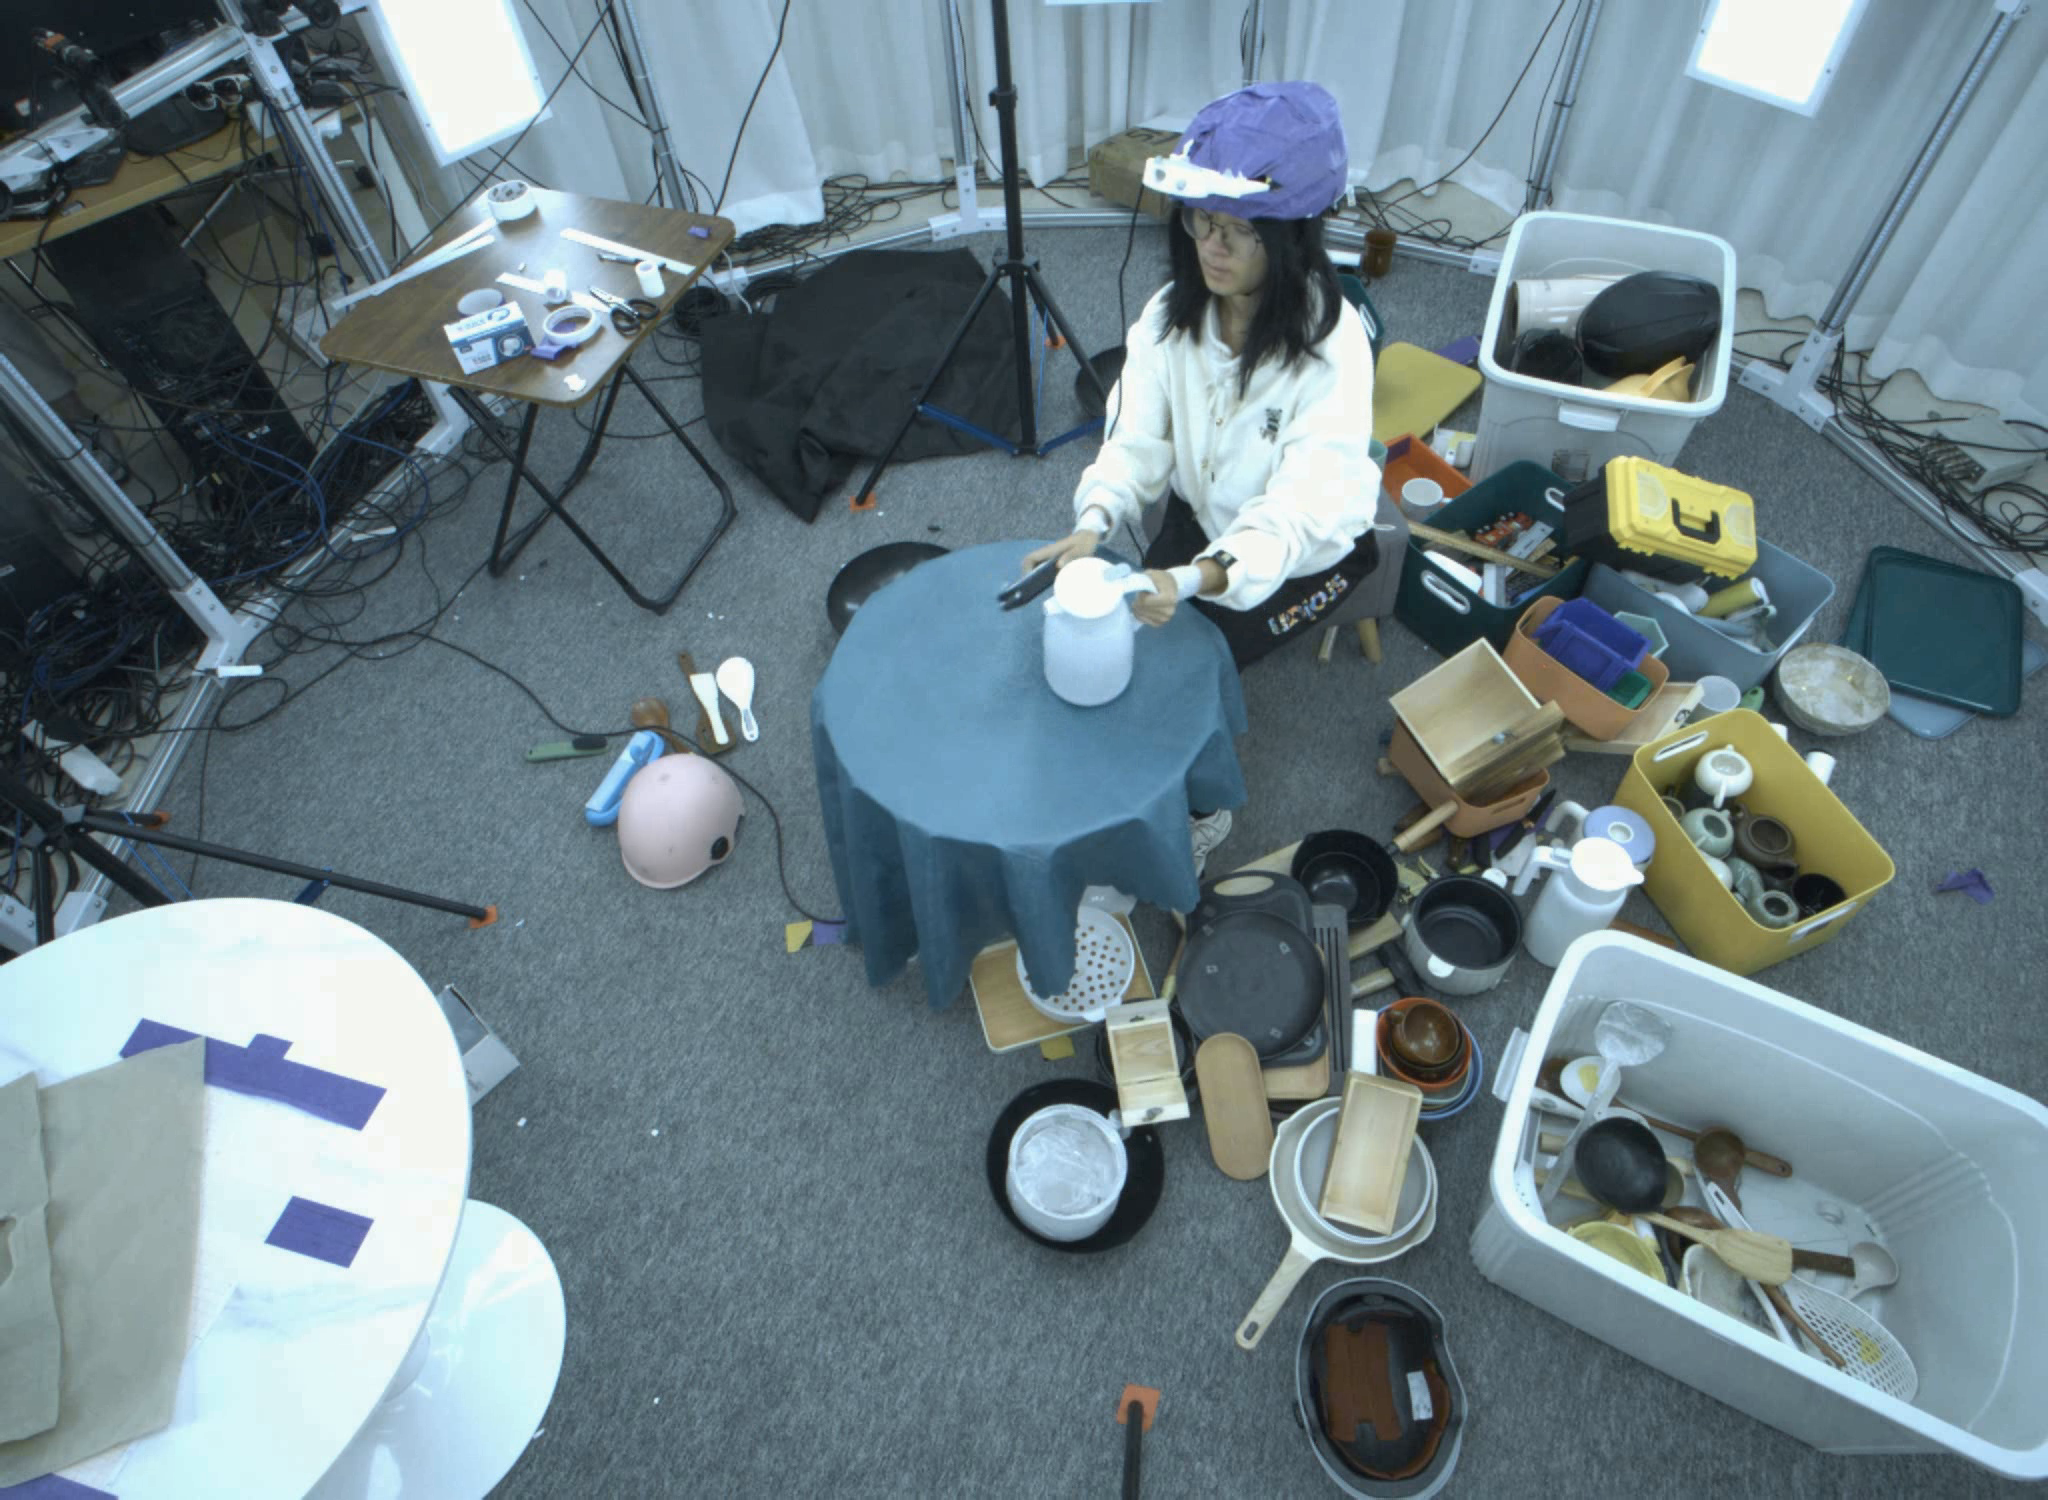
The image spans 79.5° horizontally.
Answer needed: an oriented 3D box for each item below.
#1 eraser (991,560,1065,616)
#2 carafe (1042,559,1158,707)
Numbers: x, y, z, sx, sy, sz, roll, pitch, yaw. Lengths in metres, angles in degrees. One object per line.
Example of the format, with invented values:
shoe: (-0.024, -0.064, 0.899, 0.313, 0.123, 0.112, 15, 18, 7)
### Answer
eraser: (0.007, -0.240, 1.814, 0.052, 0.031, 0.126, -9, 25, 44)
carafe: (0.107, -0.178, 1.732, 0.168, 0.251, 0.131, -23, 68, -7)
